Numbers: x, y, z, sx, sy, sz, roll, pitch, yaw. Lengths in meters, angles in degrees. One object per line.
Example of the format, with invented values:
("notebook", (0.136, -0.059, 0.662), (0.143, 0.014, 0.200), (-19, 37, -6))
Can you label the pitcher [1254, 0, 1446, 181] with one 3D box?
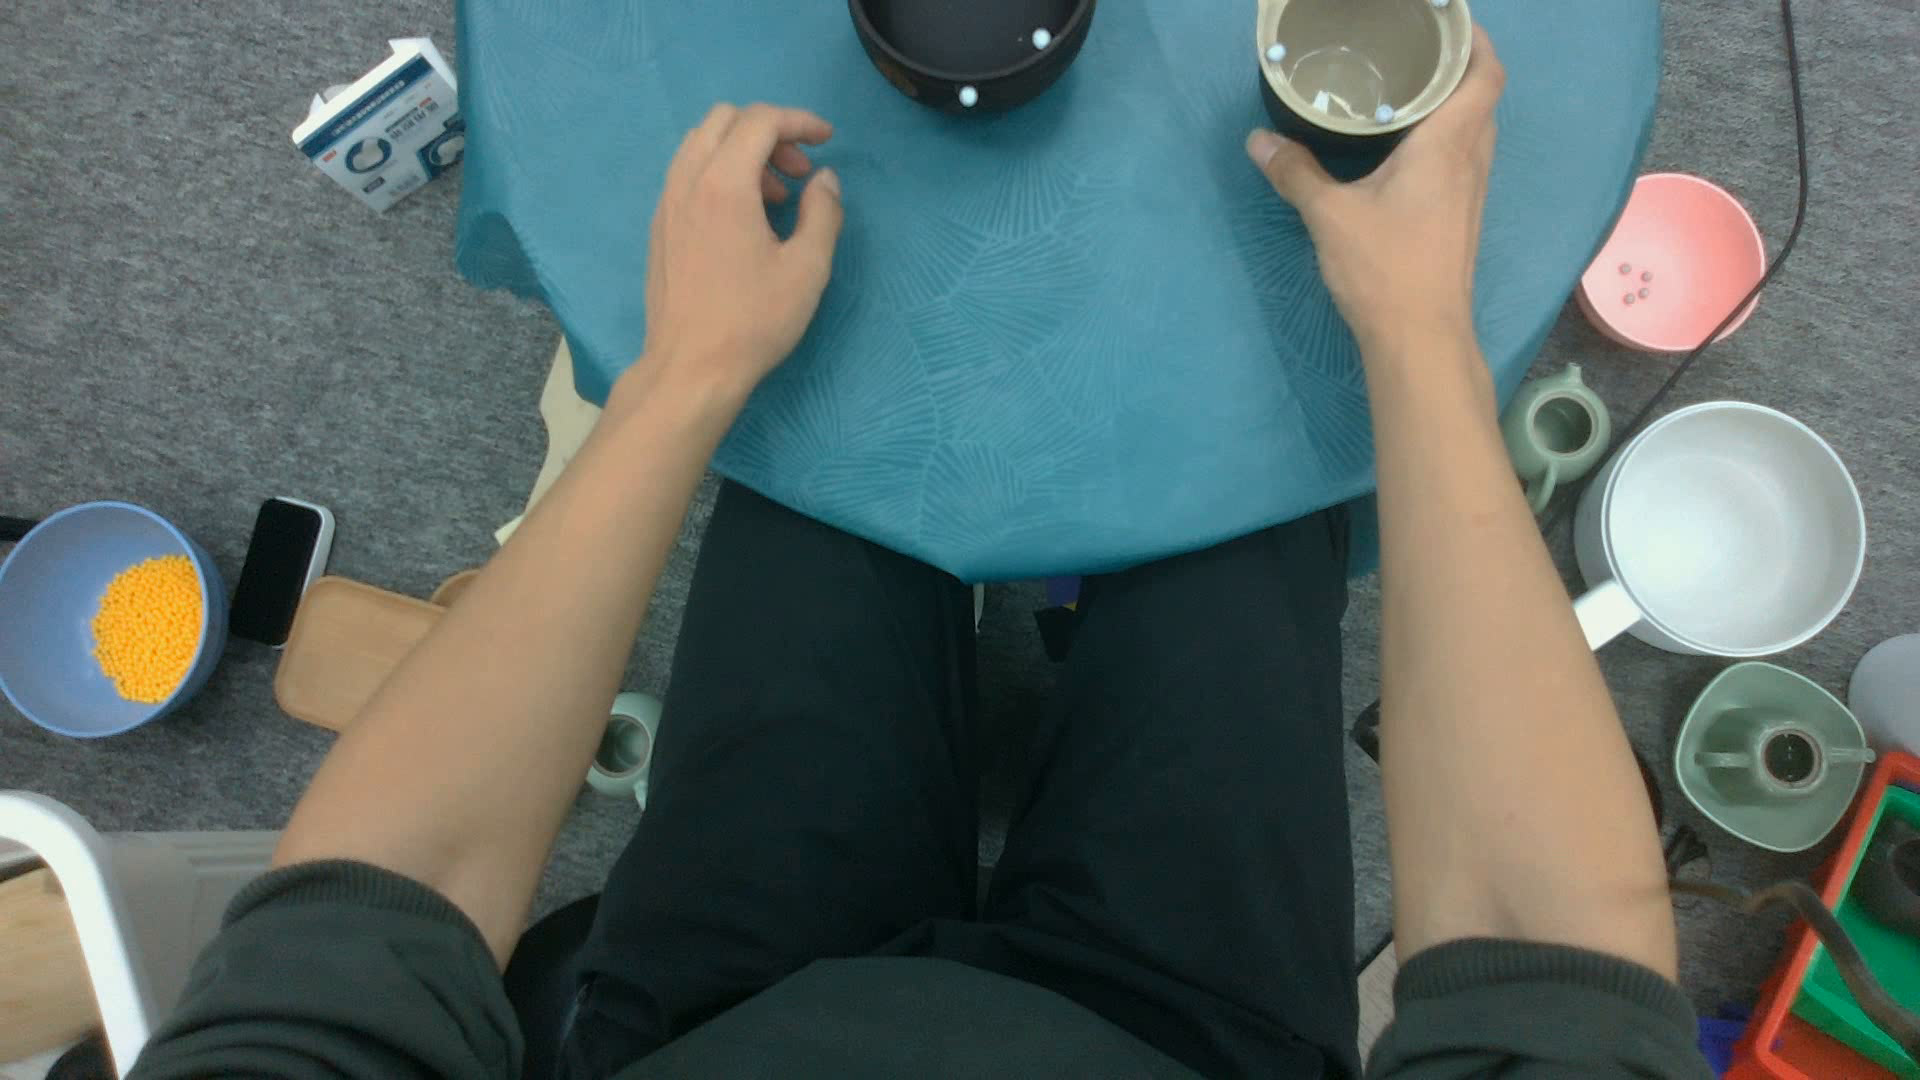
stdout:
("pitcher", (0.177, -0.214, 0.656), (0.096, 0.071, 0.083), (40, 88, 8))

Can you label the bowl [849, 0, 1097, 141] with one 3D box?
("bowl", (0.008, -0.250, 0.675), (0.118, 0.070, 0.118), (-1, 80, 3))
